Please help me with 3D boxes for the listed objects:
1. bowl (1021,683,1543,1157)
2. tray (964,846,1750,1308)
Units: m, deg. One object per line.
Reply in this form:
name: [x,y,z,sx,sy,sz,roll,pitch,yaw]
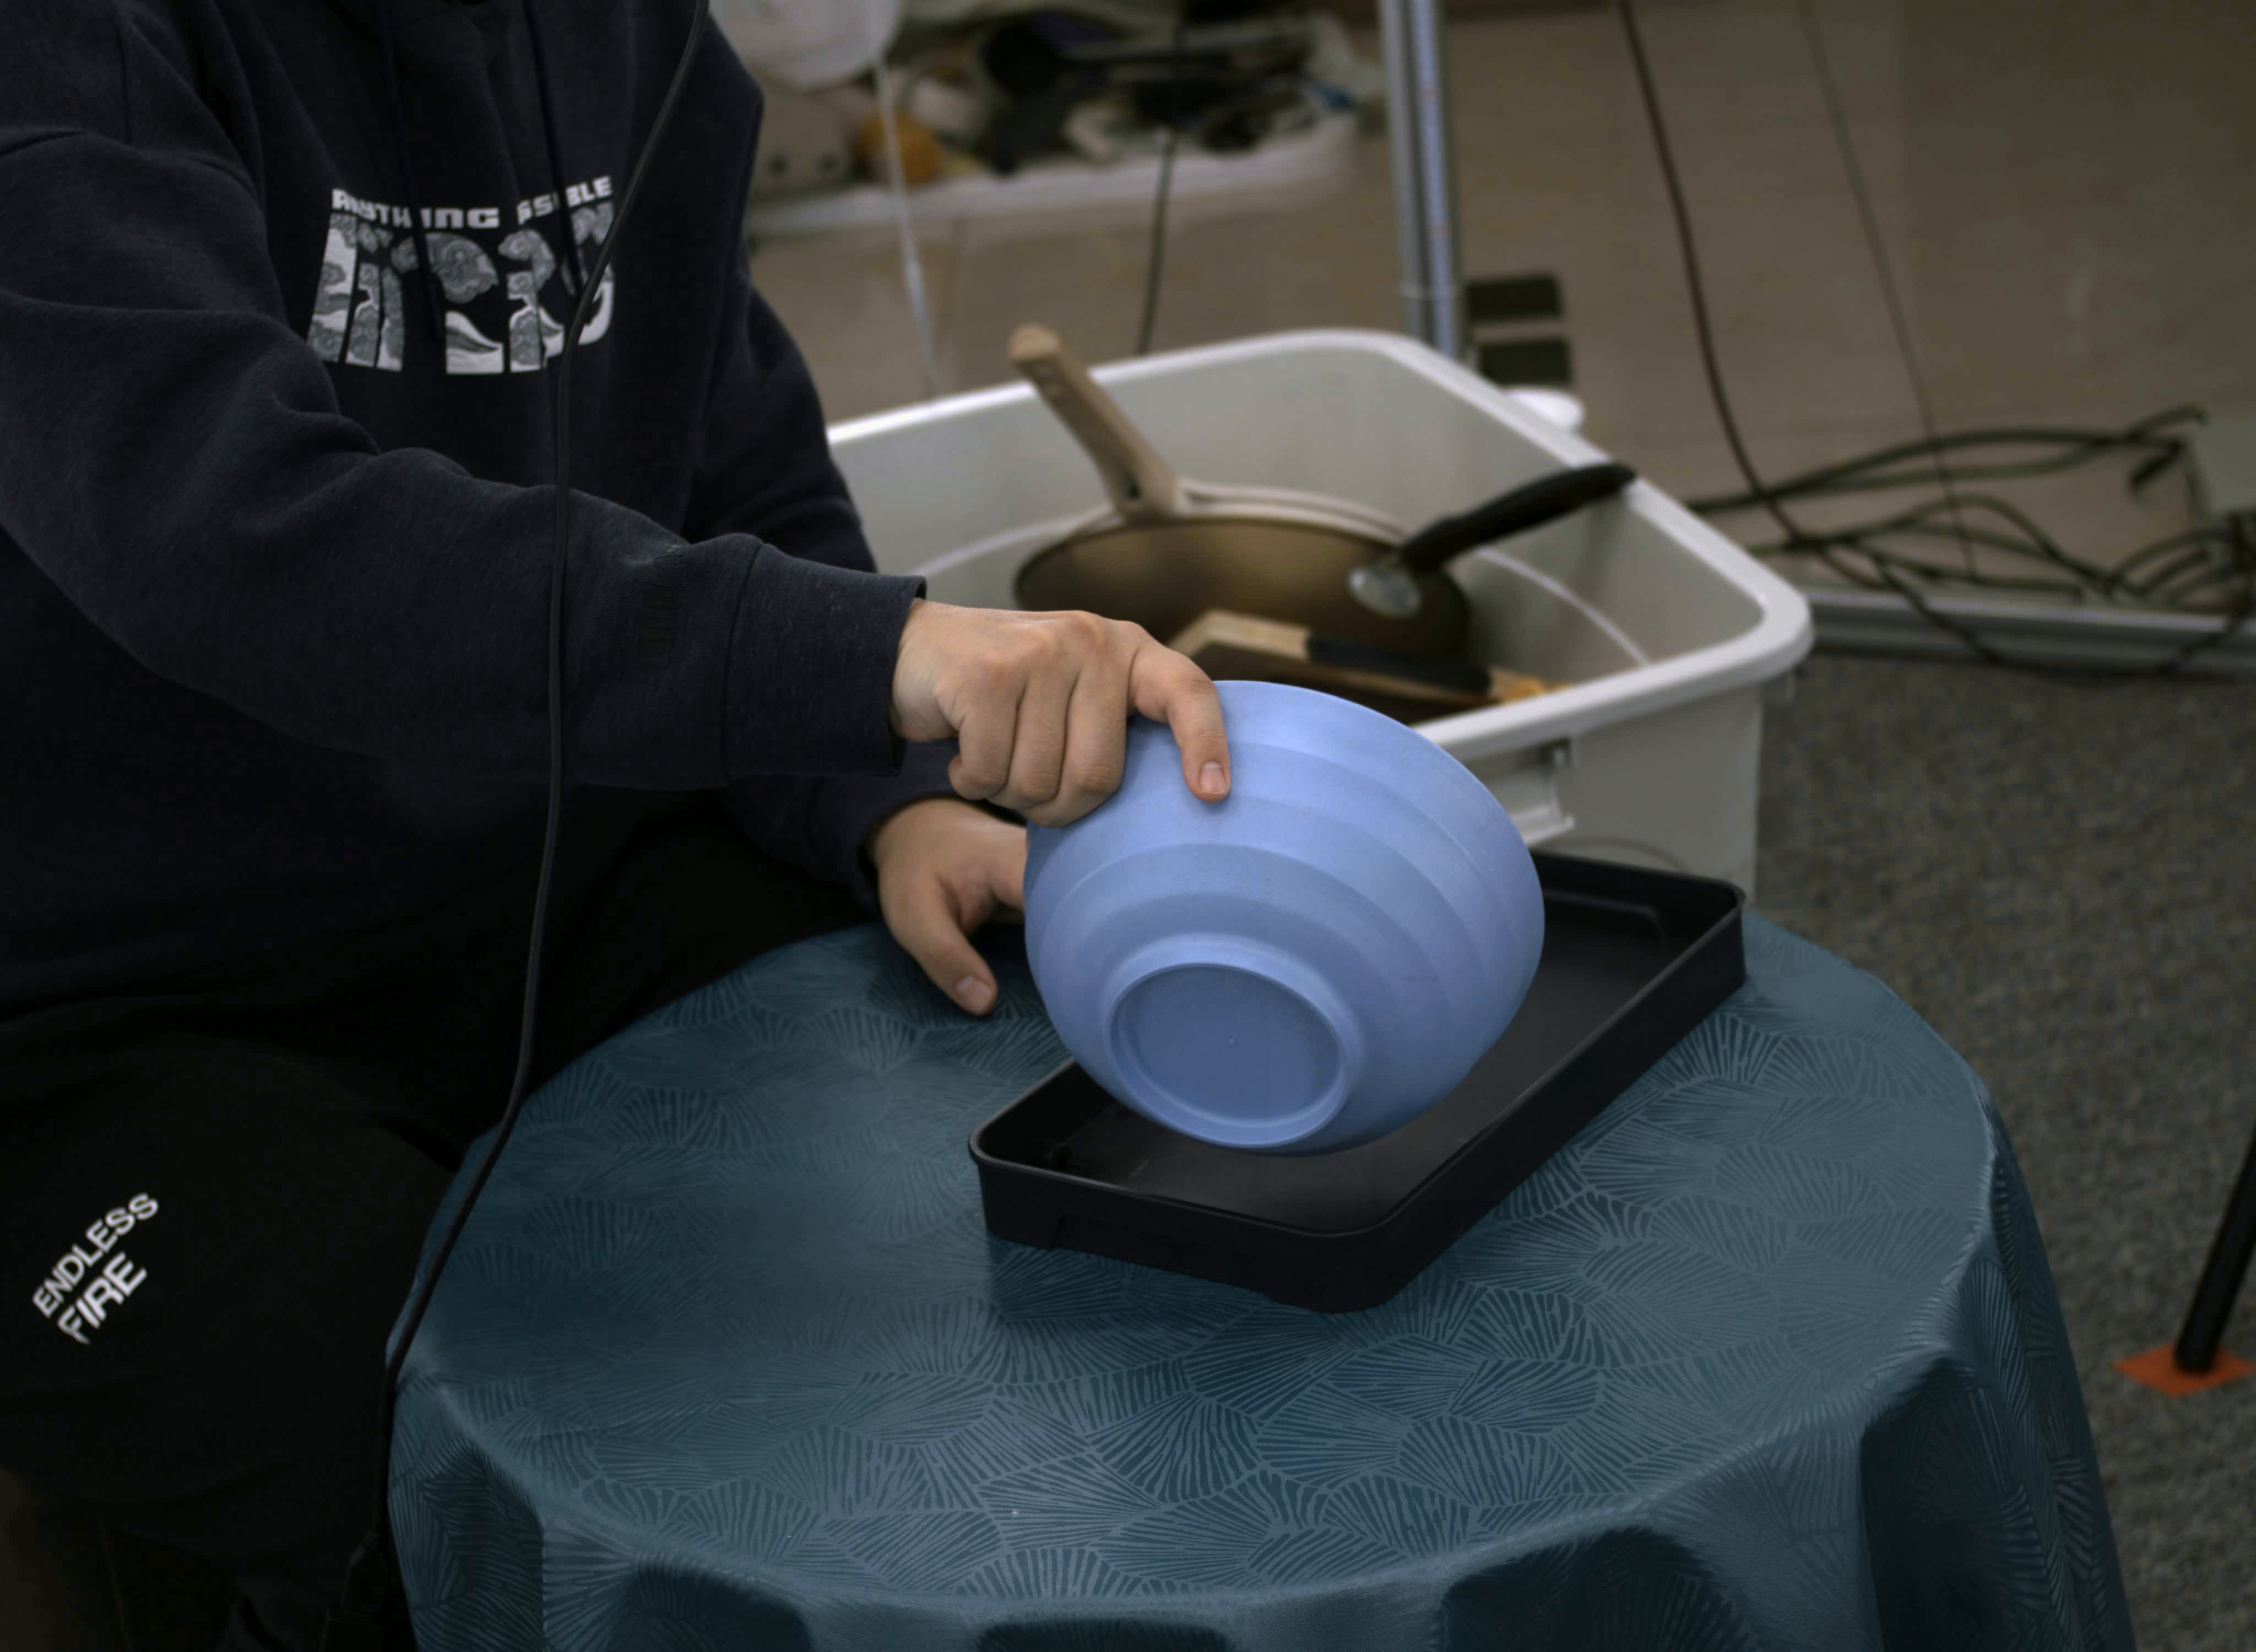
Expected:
bowl: [0.045,0.052,2.057,0.196,0.200,0.094,2,43,17]
tray: [0.094,0.087,2.191,0.183,0.037,0.314,10,29,33]
